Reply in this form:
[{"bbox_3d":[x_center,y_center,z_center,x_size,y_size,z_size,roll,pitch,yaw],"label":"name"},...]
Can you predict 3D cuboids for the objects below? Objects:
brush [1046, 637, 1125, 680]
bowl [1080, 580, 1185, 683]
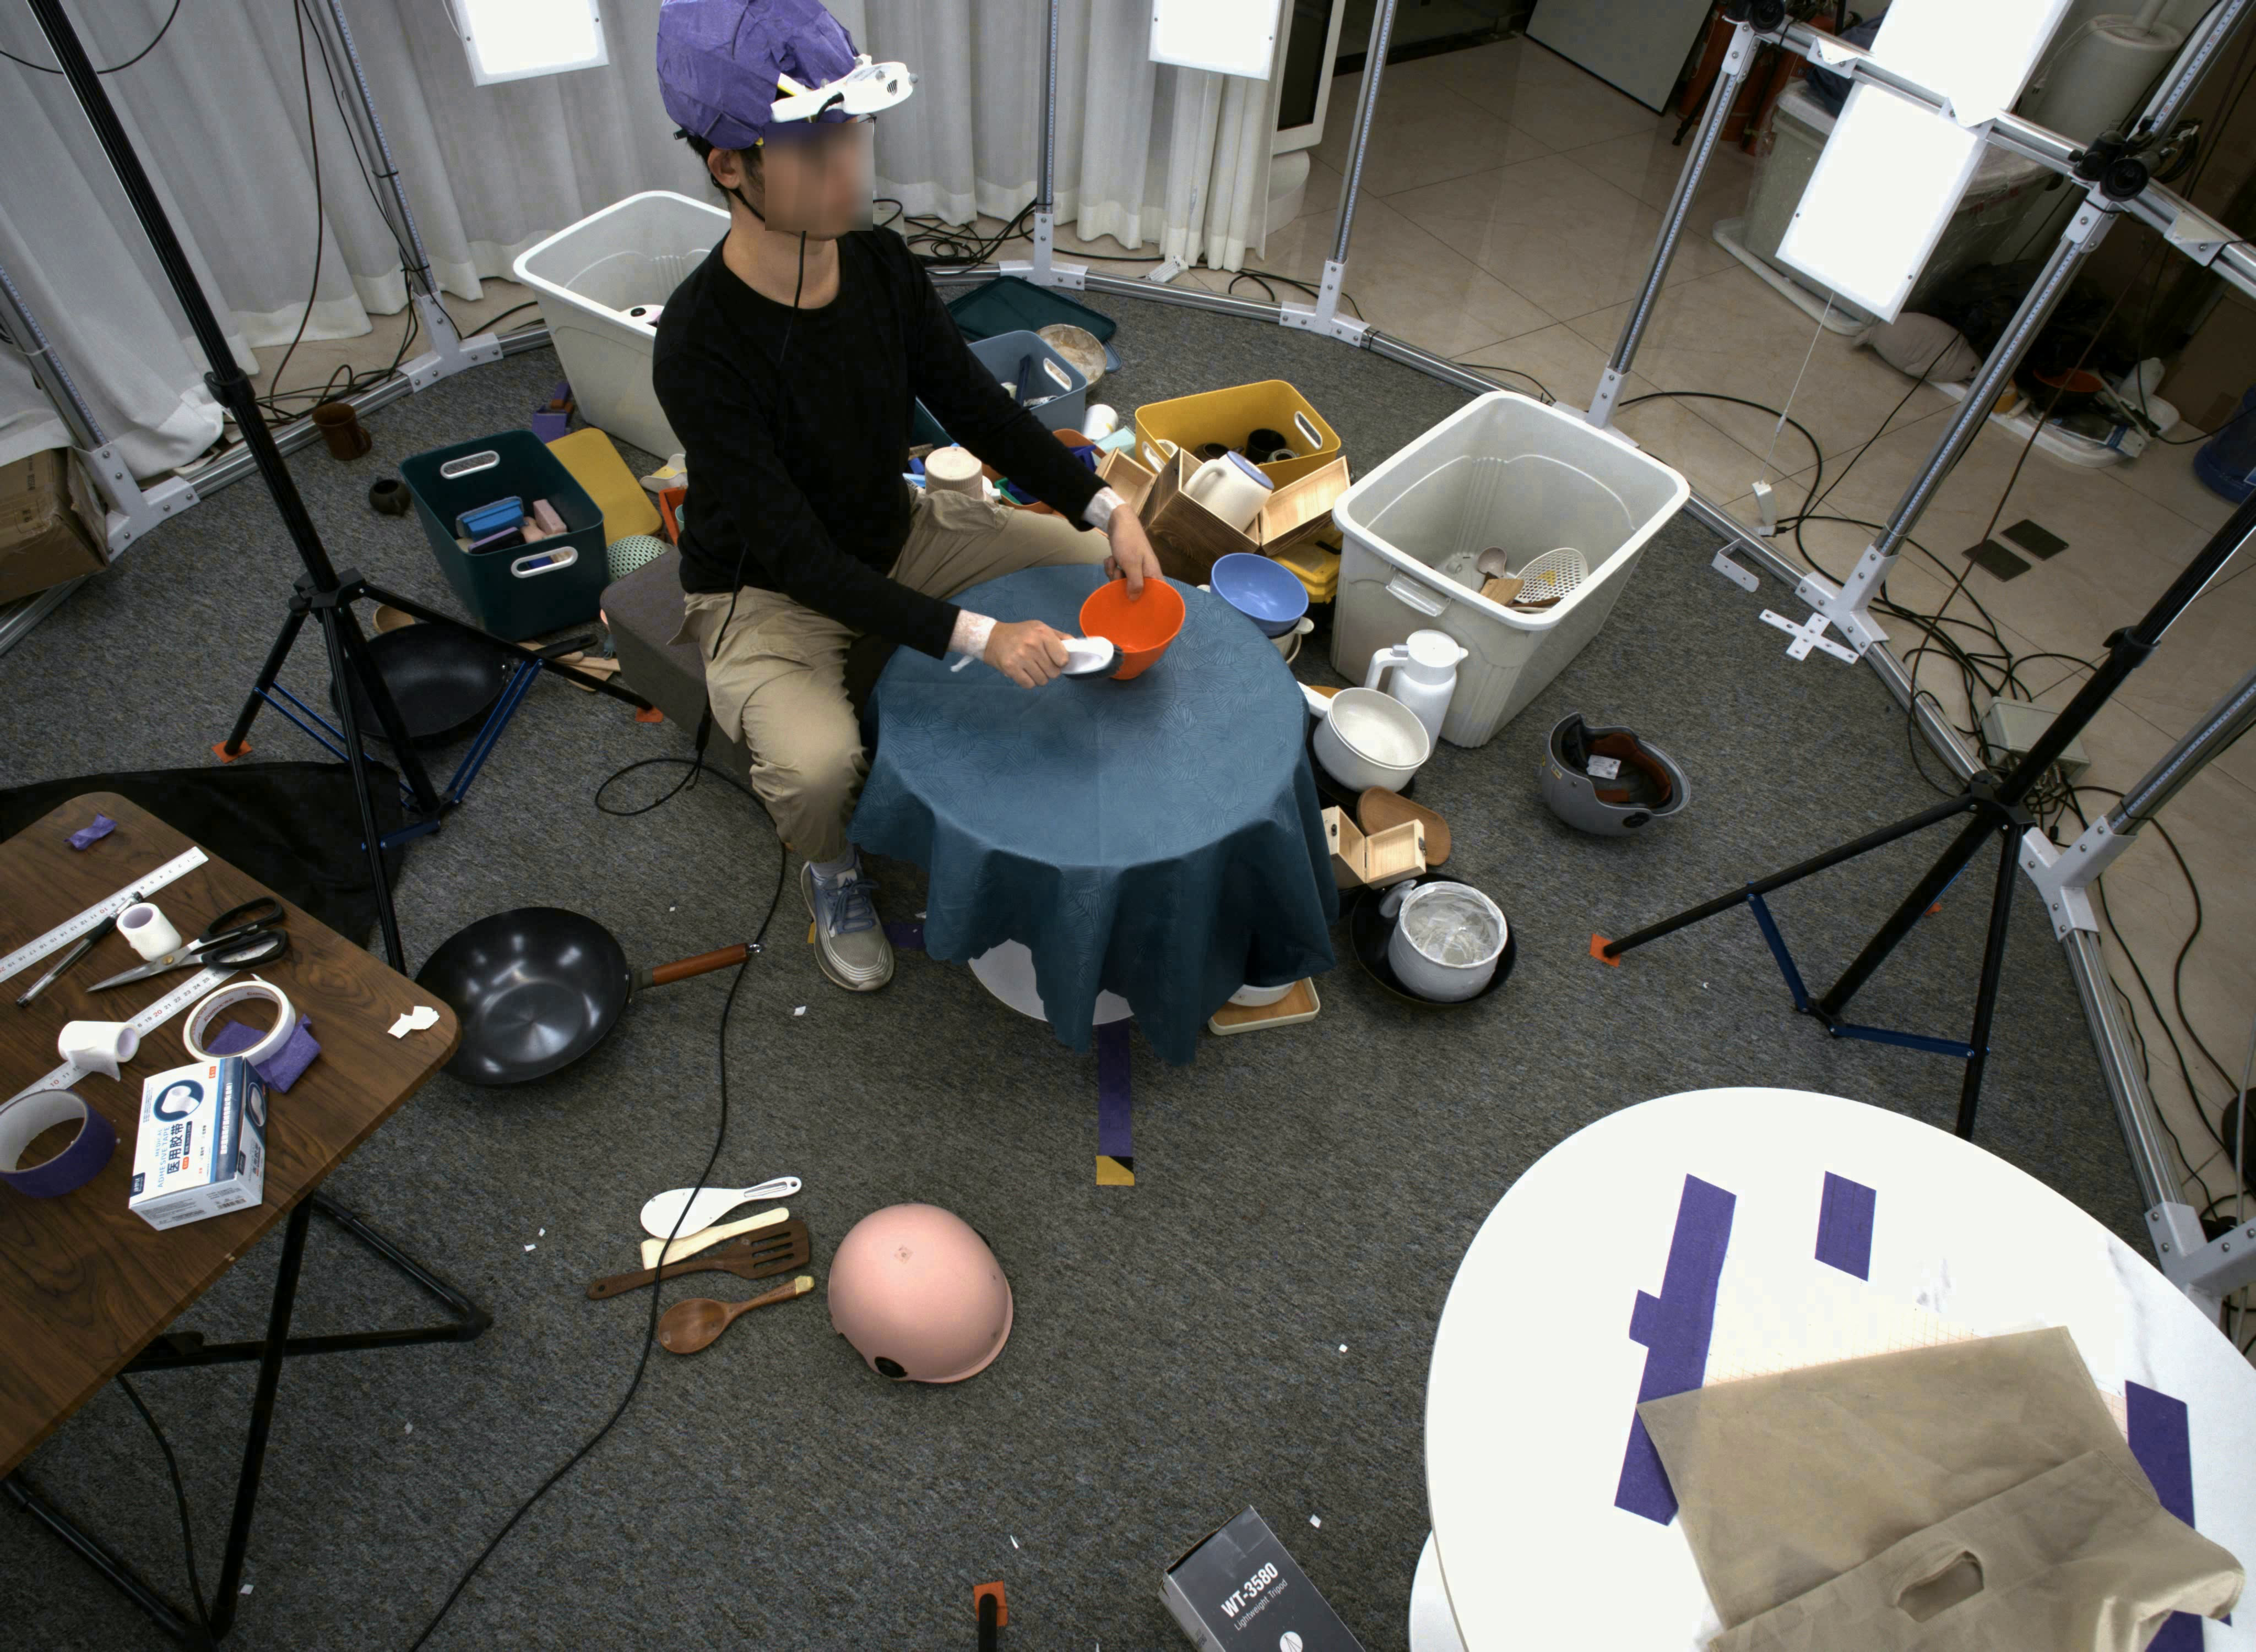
[{"bbox_3d":[-0.064,-0.229,1.715,0.099,0.071,0.050,2,80,34],"label":"brush"},{"bbox_3d":[0.005,-0.269,1.841,0.148,0.102,0.152,1,48,-1],"label":"bowl"}]
